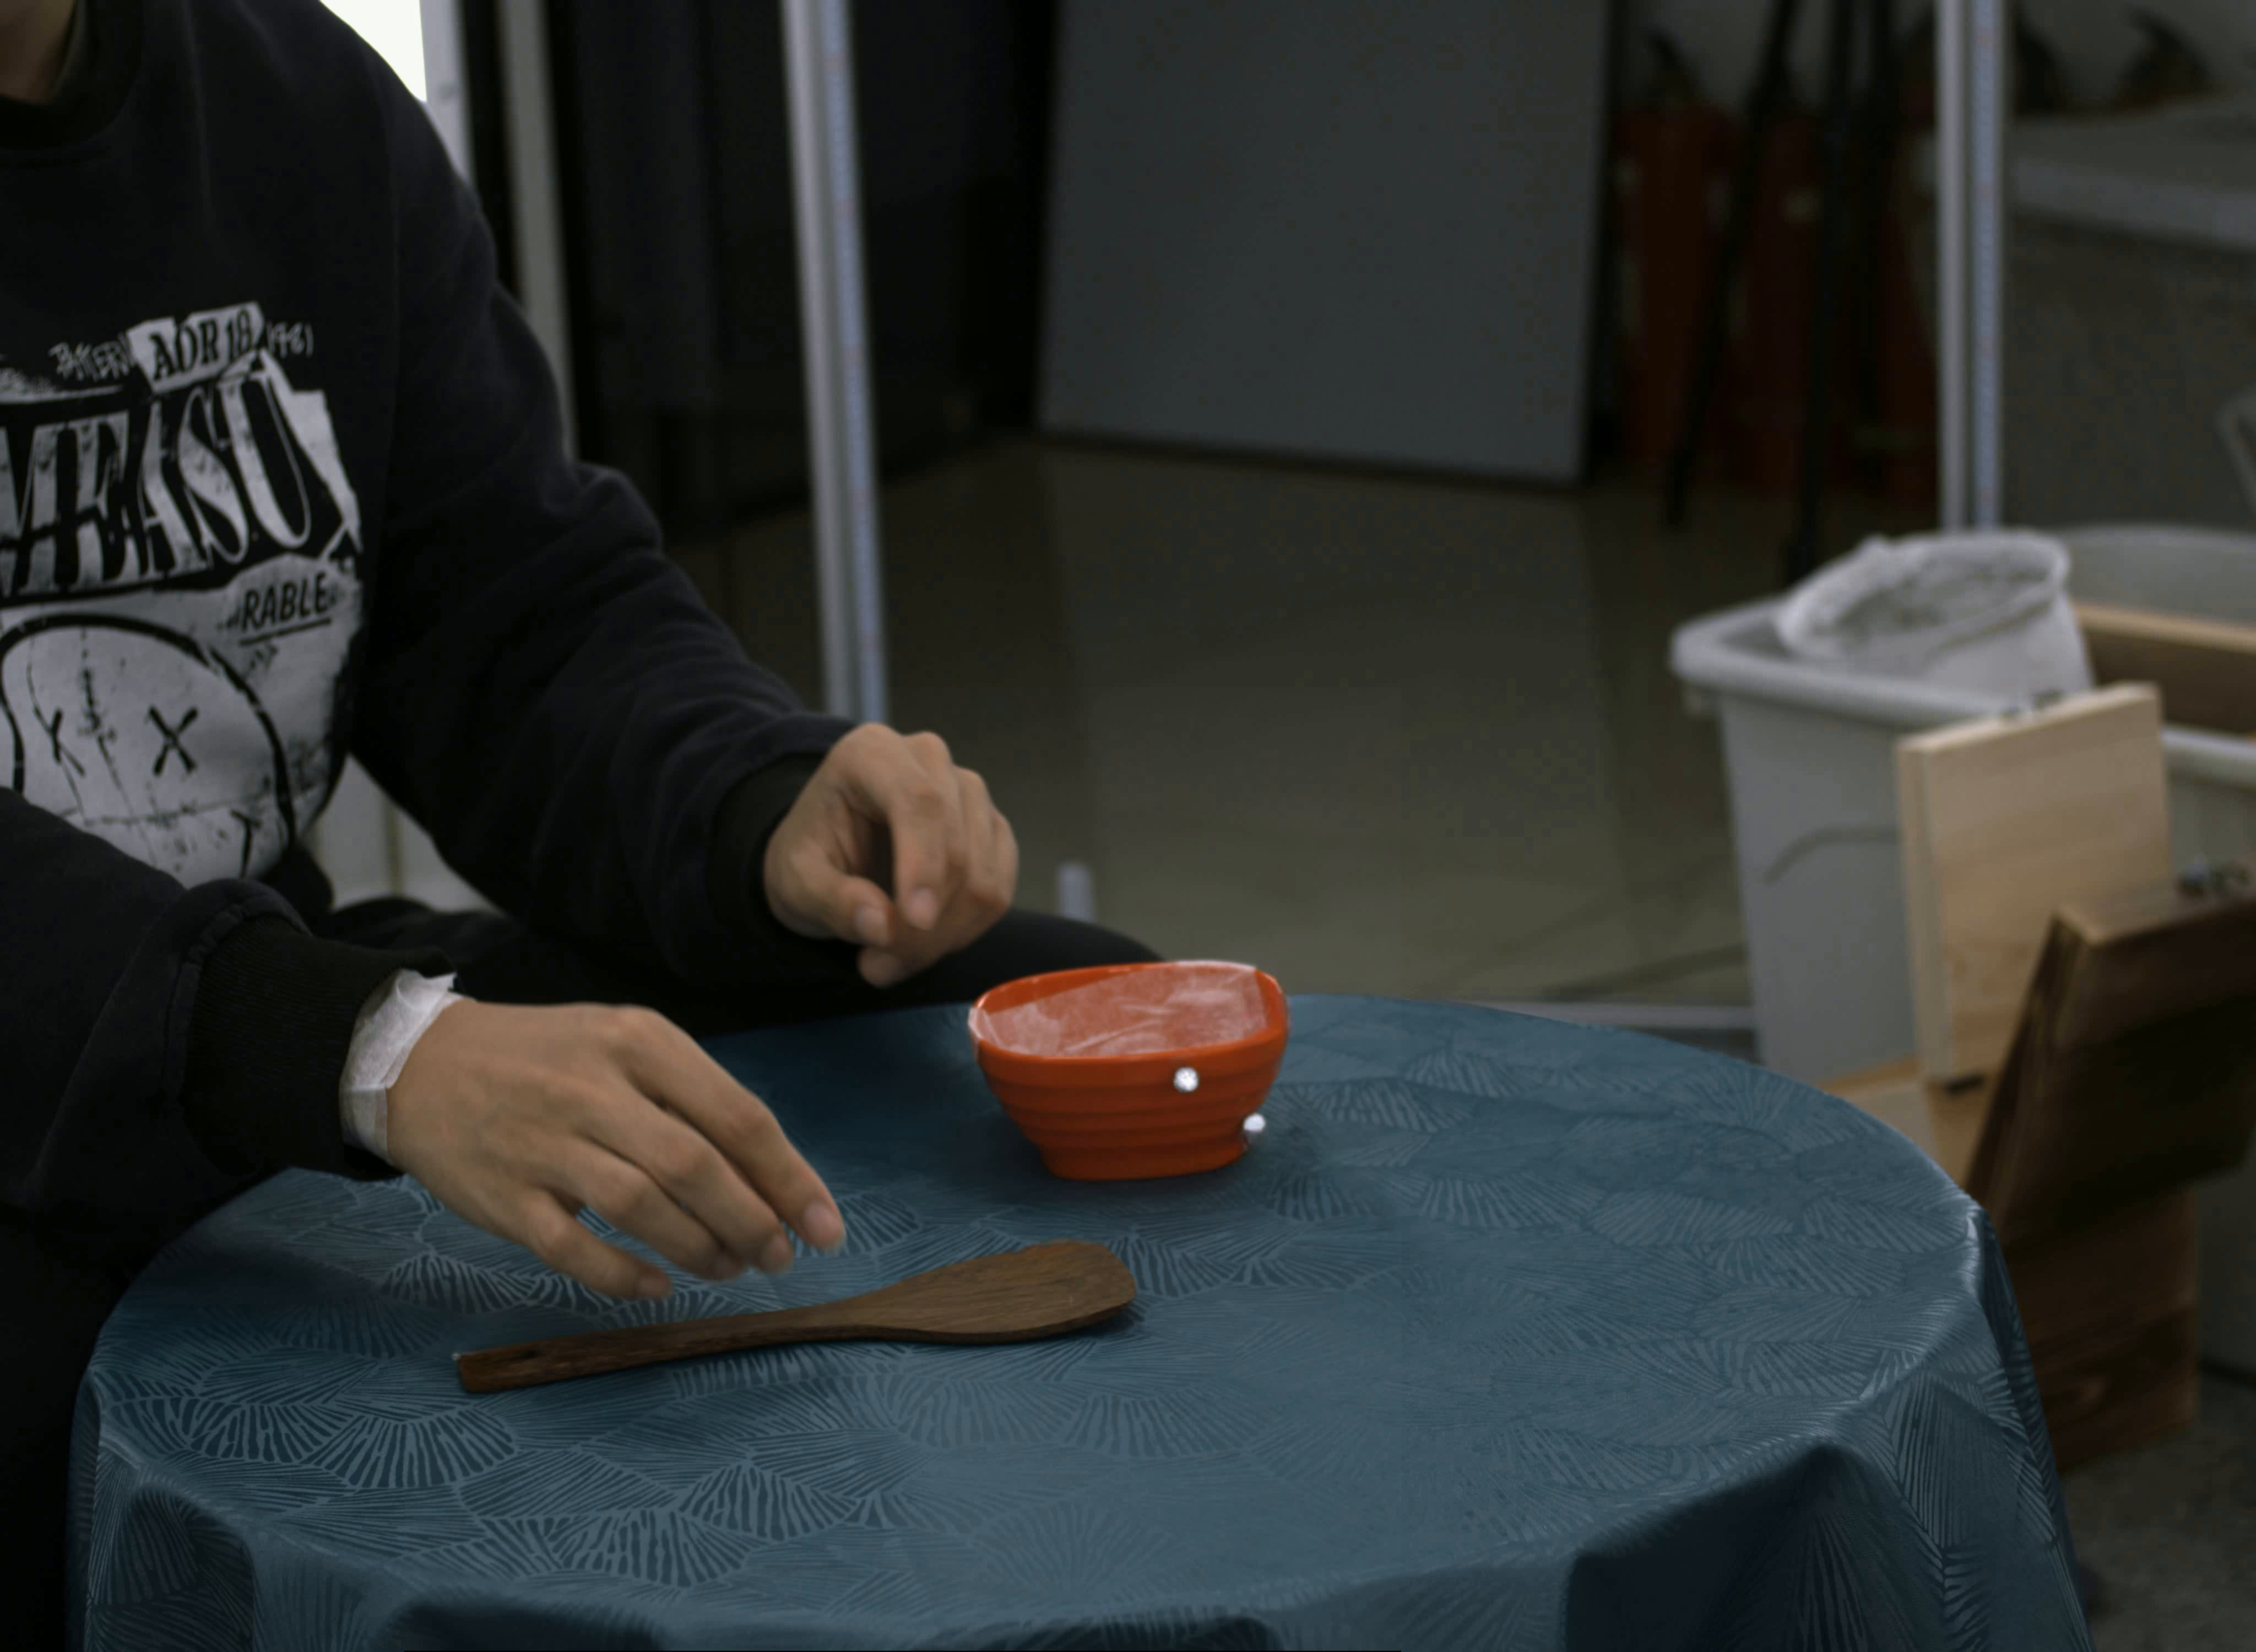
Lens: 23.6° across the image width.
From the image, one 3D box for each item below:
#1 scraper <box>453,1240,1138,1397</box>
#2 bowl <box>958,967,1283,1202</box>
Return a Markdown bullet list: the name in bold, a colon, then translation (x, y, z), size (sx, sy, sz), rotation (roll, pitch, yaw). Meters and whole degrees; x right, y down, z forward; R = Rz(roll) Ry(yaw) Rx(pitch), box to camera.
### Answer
- **scraper**: translation (-0.102, 0.154, 1.651), size (0.207, 0.011, 0.076), rotation (-8, 13, -11)
- **bowl**: translation (-0.002, 0.090, 1.809), size (0.117, 0.052, 0.119), rotation (-3, 18, 0)
